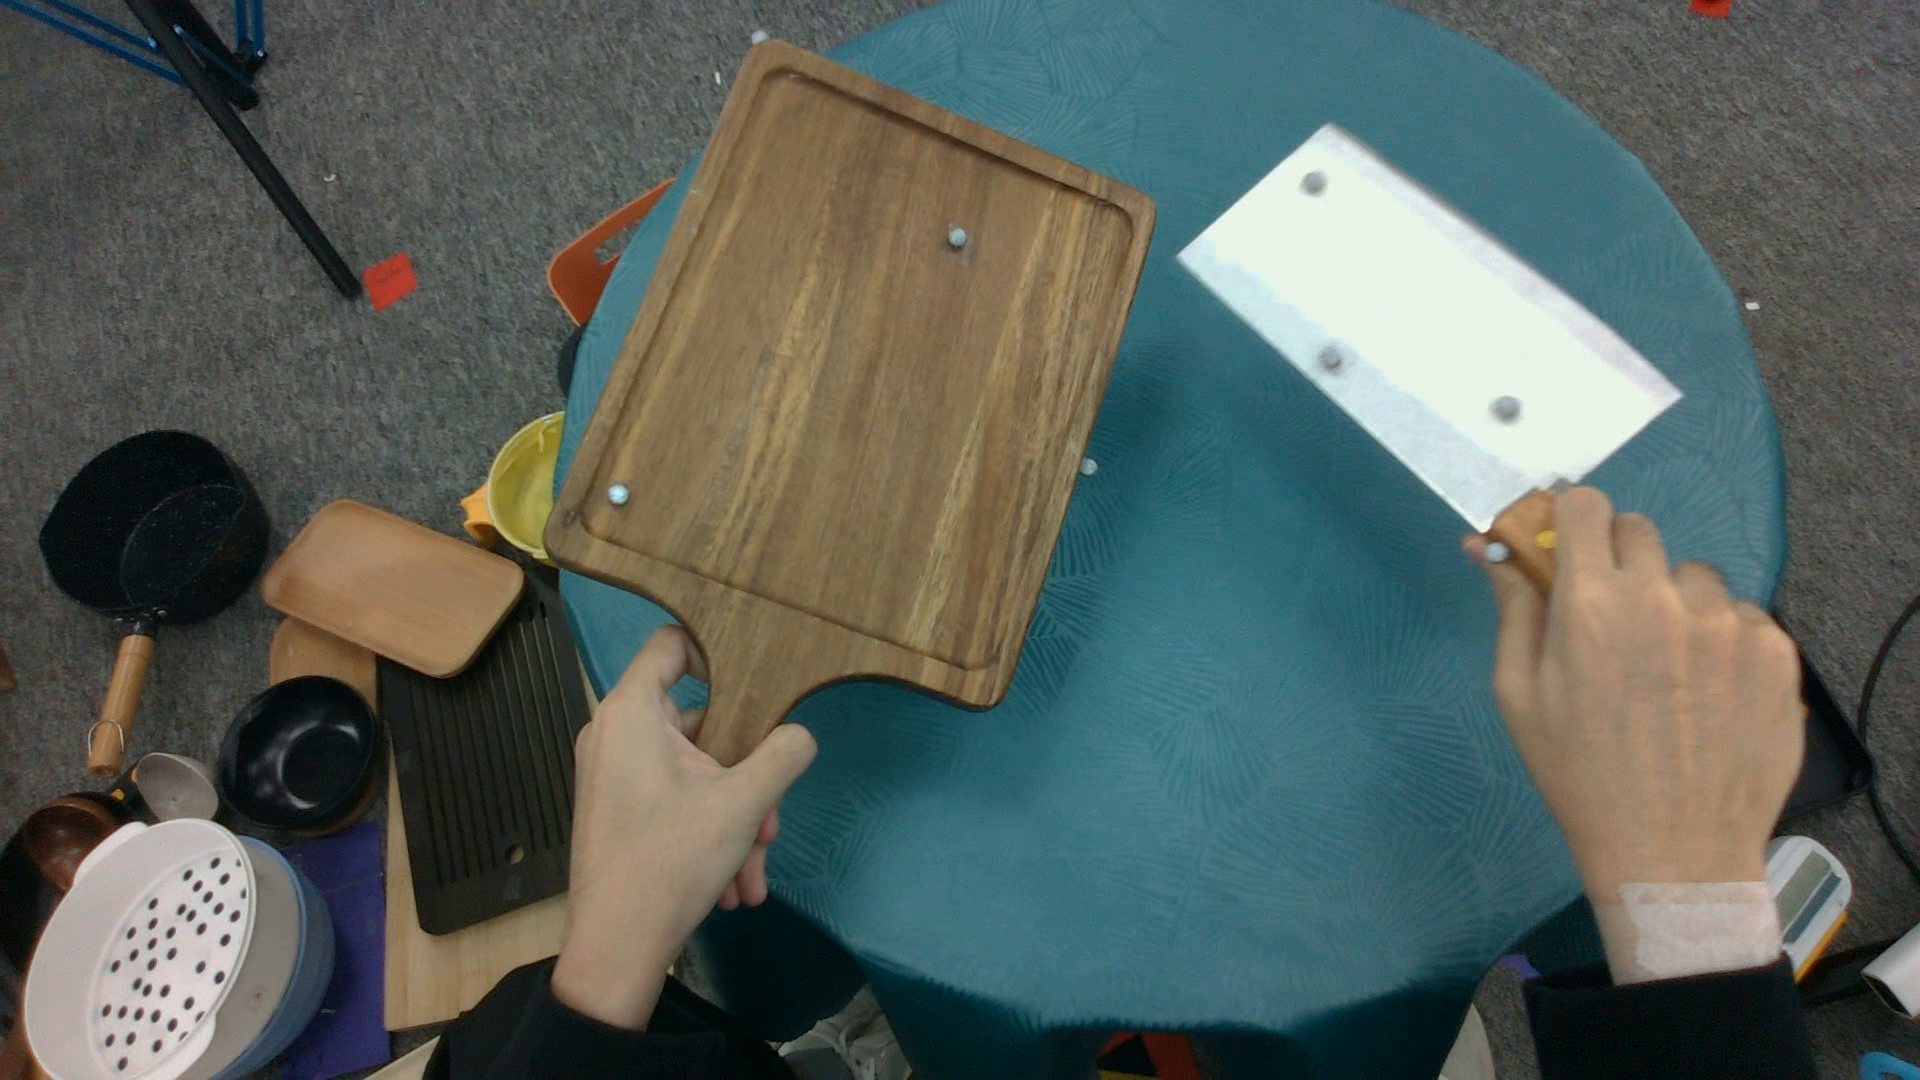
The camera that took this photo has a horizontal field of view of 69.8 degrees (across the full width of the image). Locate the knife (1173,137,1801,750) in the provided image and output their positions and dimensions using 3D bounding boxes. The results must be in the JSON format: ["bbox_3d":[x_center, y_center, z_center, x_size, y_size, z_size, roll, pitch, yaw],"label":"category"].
[{"bbox_3d":[0.210,-0.057,0.536,0.093,0.021,0.306,-40,63,1],"label":"knife"}]

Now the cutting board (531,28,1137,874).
[{"bbox_3d":[-0.058,-0.036,0.574,0.201,0.023,0.353,19,74,-7],"label":"cutting board"}]
